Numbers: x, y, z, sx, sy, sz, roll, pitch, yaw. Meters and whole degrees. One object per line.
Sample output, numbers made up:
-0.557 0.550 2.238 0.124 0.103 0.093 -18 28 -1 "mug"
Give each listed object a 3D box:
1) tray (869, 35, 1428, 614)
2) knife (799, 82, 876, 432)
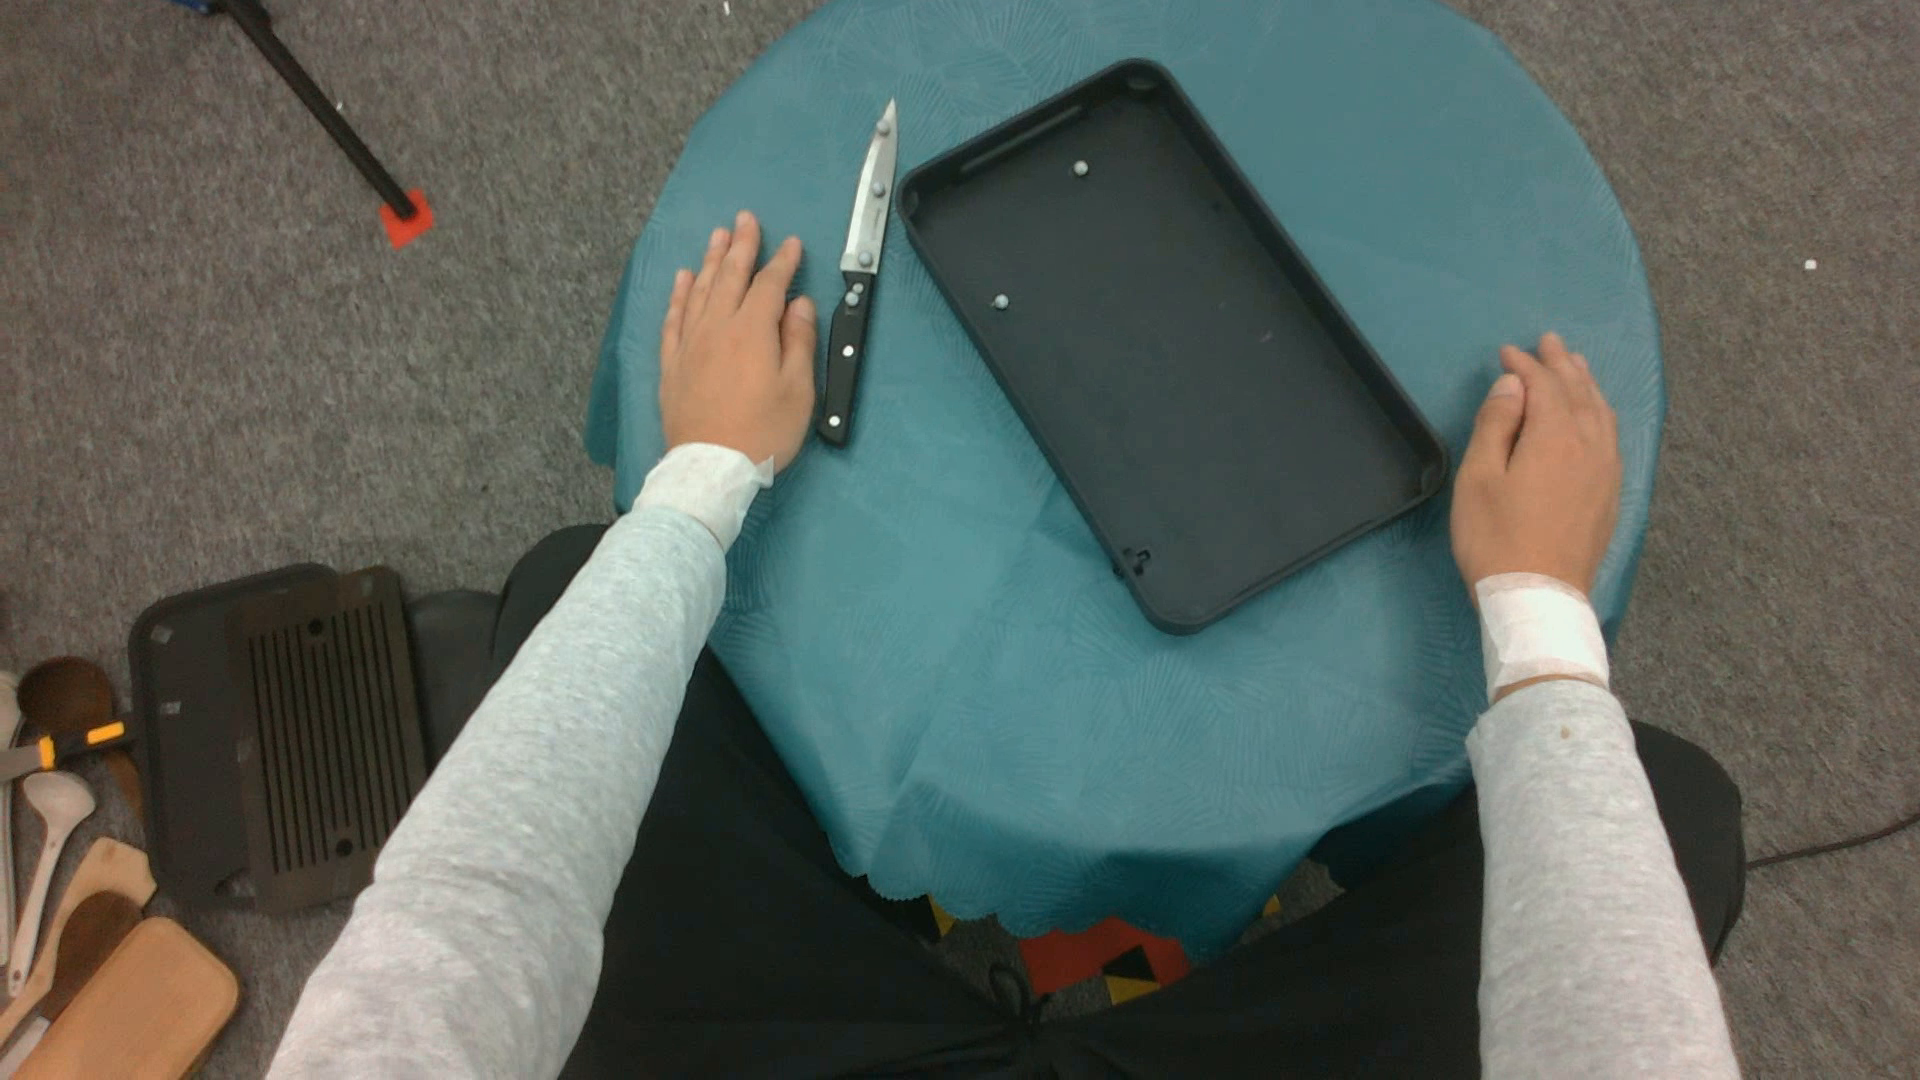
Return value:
0.100 -0.128 0.779 0.184 0.037 0.318 -30 74 -7 "tray"
-0.068 -0.173 0.813 0.024 0.016 0.239 4 70 7 "knife"
